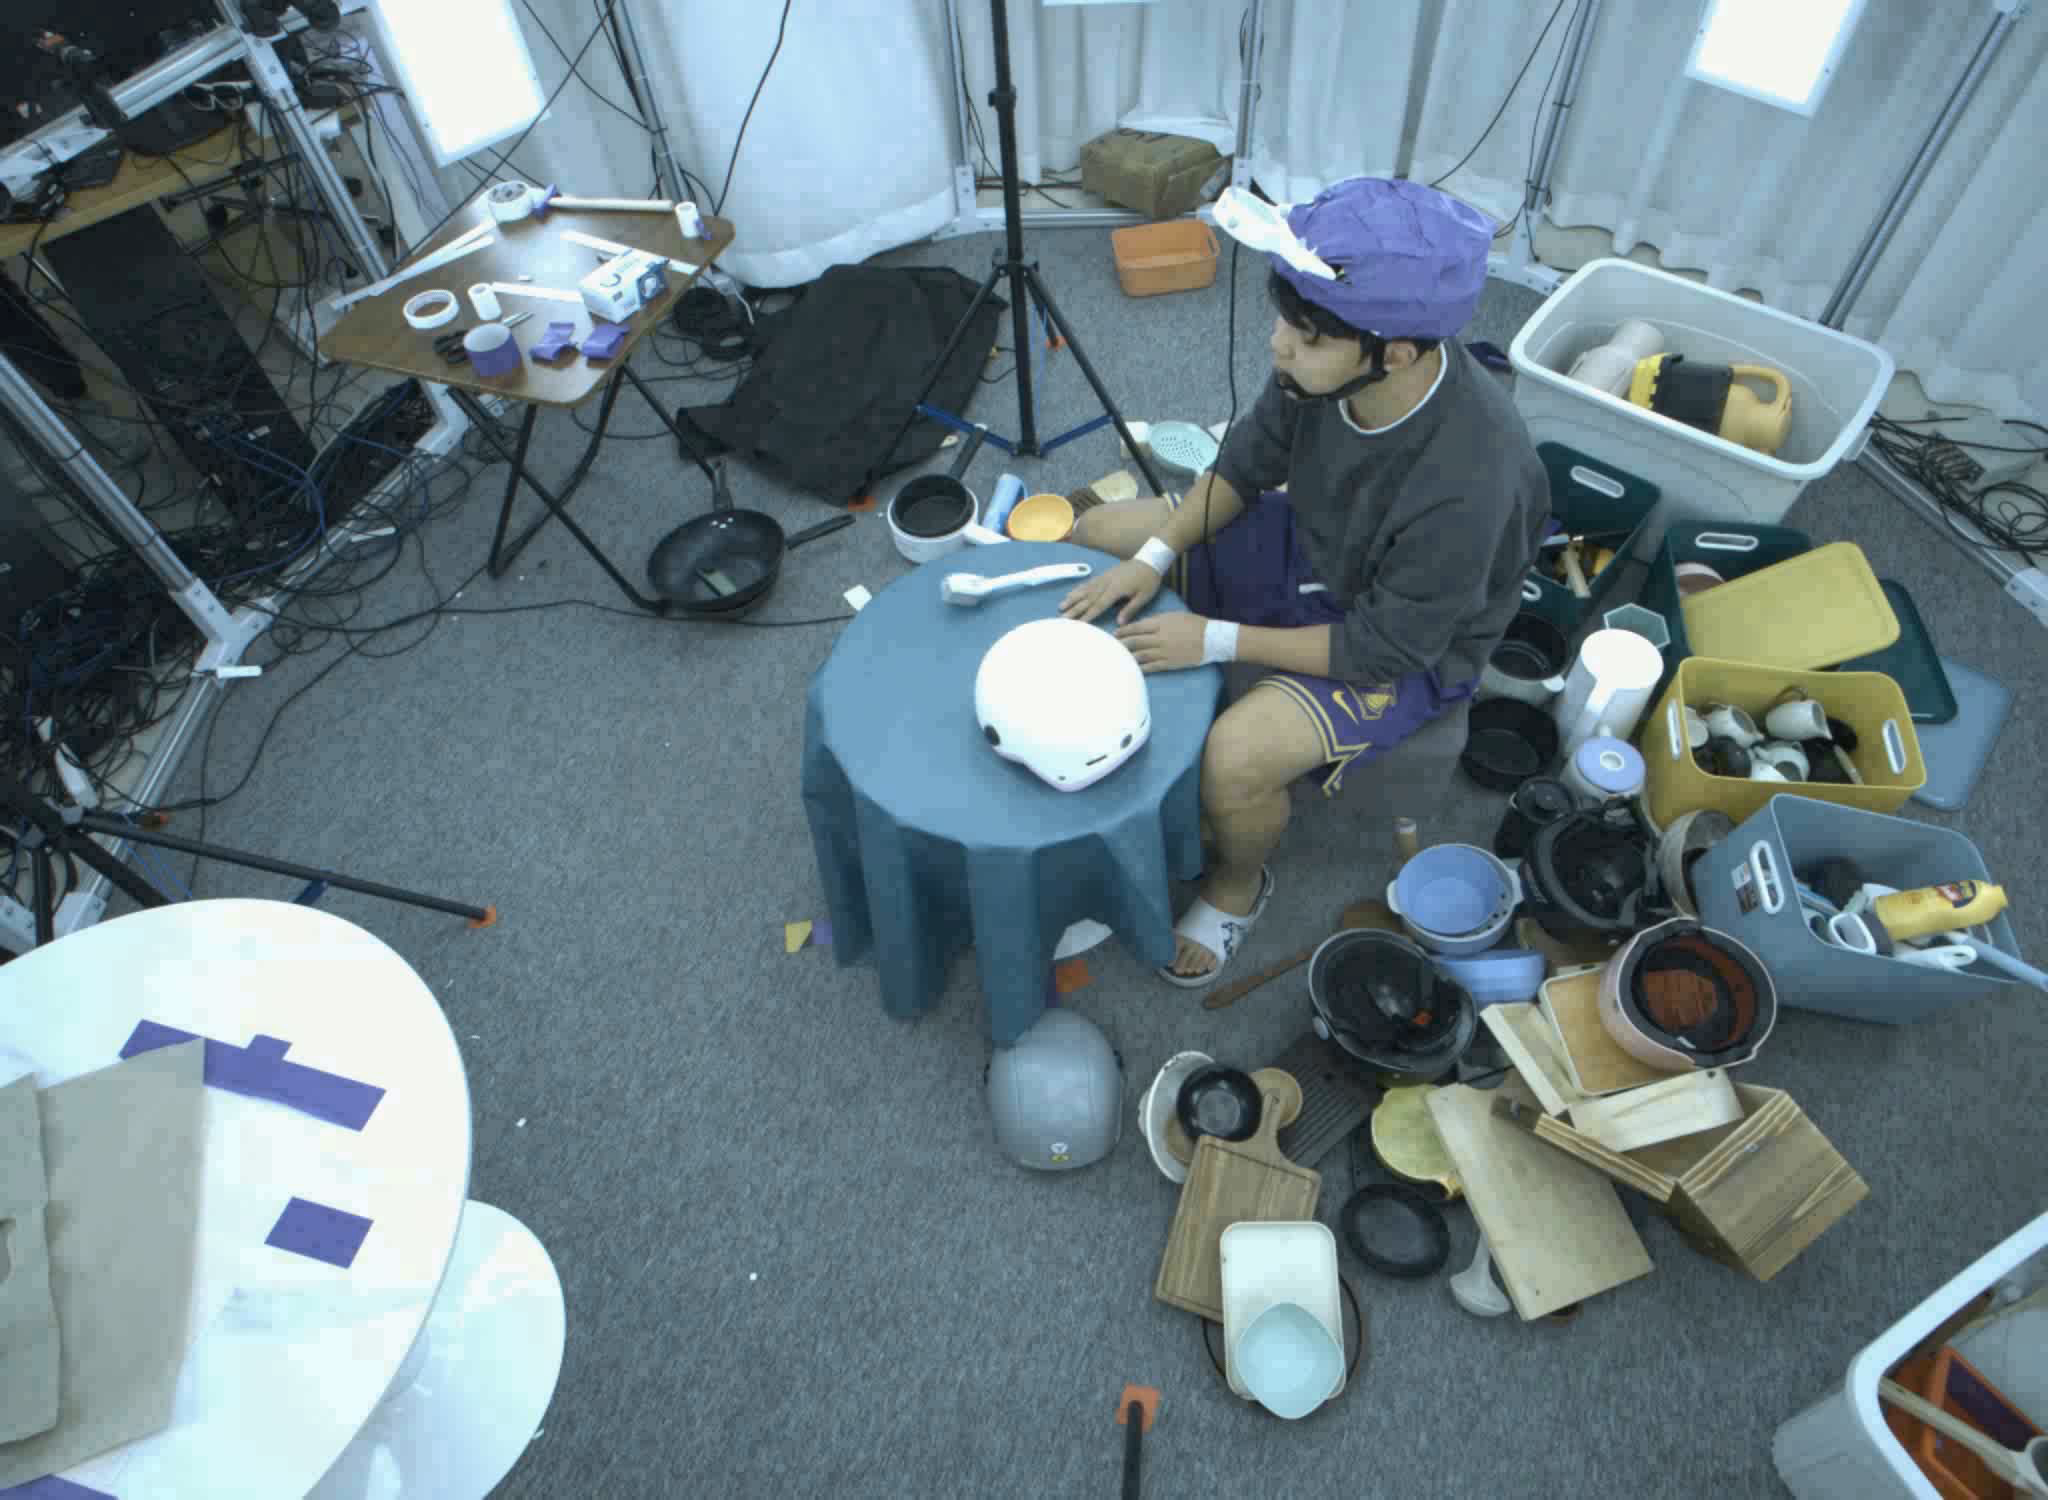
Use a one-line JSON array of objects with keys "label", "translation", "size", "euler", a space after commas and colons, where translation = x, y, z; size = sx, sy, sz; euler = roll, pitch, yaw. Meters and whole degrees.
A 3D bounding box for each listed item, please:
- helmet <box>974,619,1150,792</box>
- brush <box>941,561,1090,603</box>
[{"label": "helmet", "translation": [0.049, -0.090, 1.752], "size": [0.239, 0.169, 0.263], "euler": [-38, 61, -21]}, {"label": "brush", "translation": [-0.013, -0.269, 1.967], "size": [0.247, 0.050, 0.034], "euler": [-9, 58, -20]}]
